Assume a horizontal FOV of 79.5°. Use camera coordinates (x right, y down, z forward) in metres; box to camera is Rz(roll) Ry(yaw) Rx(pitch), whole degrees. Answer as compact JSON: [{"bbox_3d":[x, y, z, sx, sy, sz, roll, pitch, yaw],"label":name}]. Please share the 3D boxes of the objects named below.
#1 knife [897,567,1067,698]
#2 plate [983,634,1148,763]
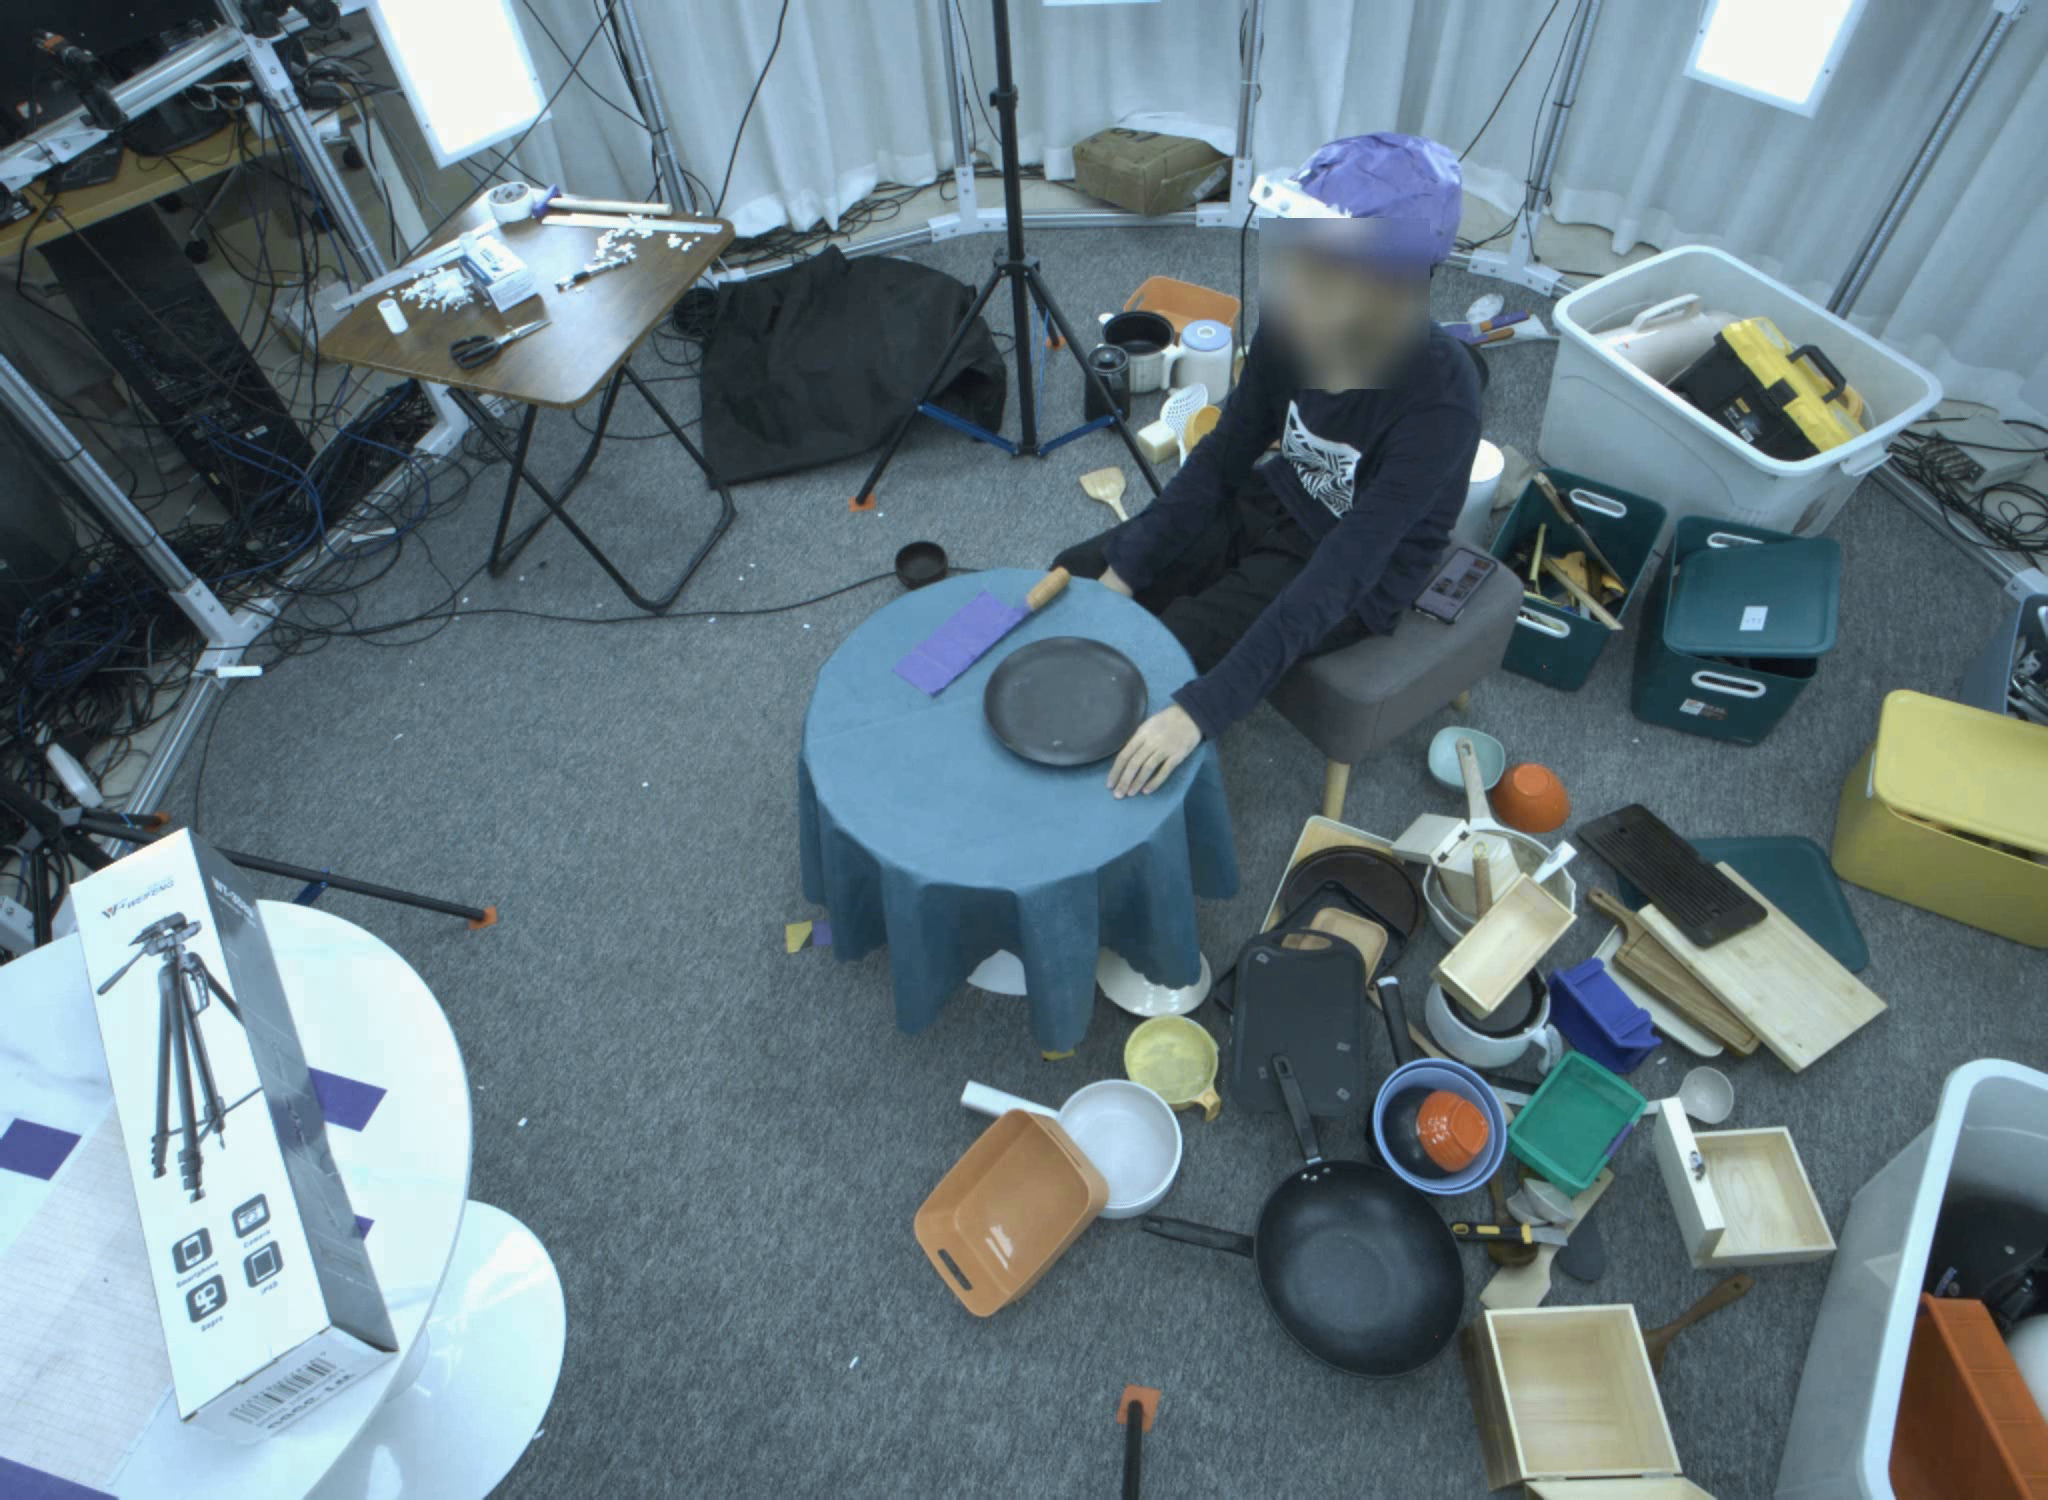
[{"bbox_3d":[-0.067,-0.202,1.925,0.102,0.032,0.317,36,63,23],"label":"knife"},{"bbox_3d":[0.061,-0.074,1.833,0.244,0.023,0.242,0,55,1],"label":"plate"}]
